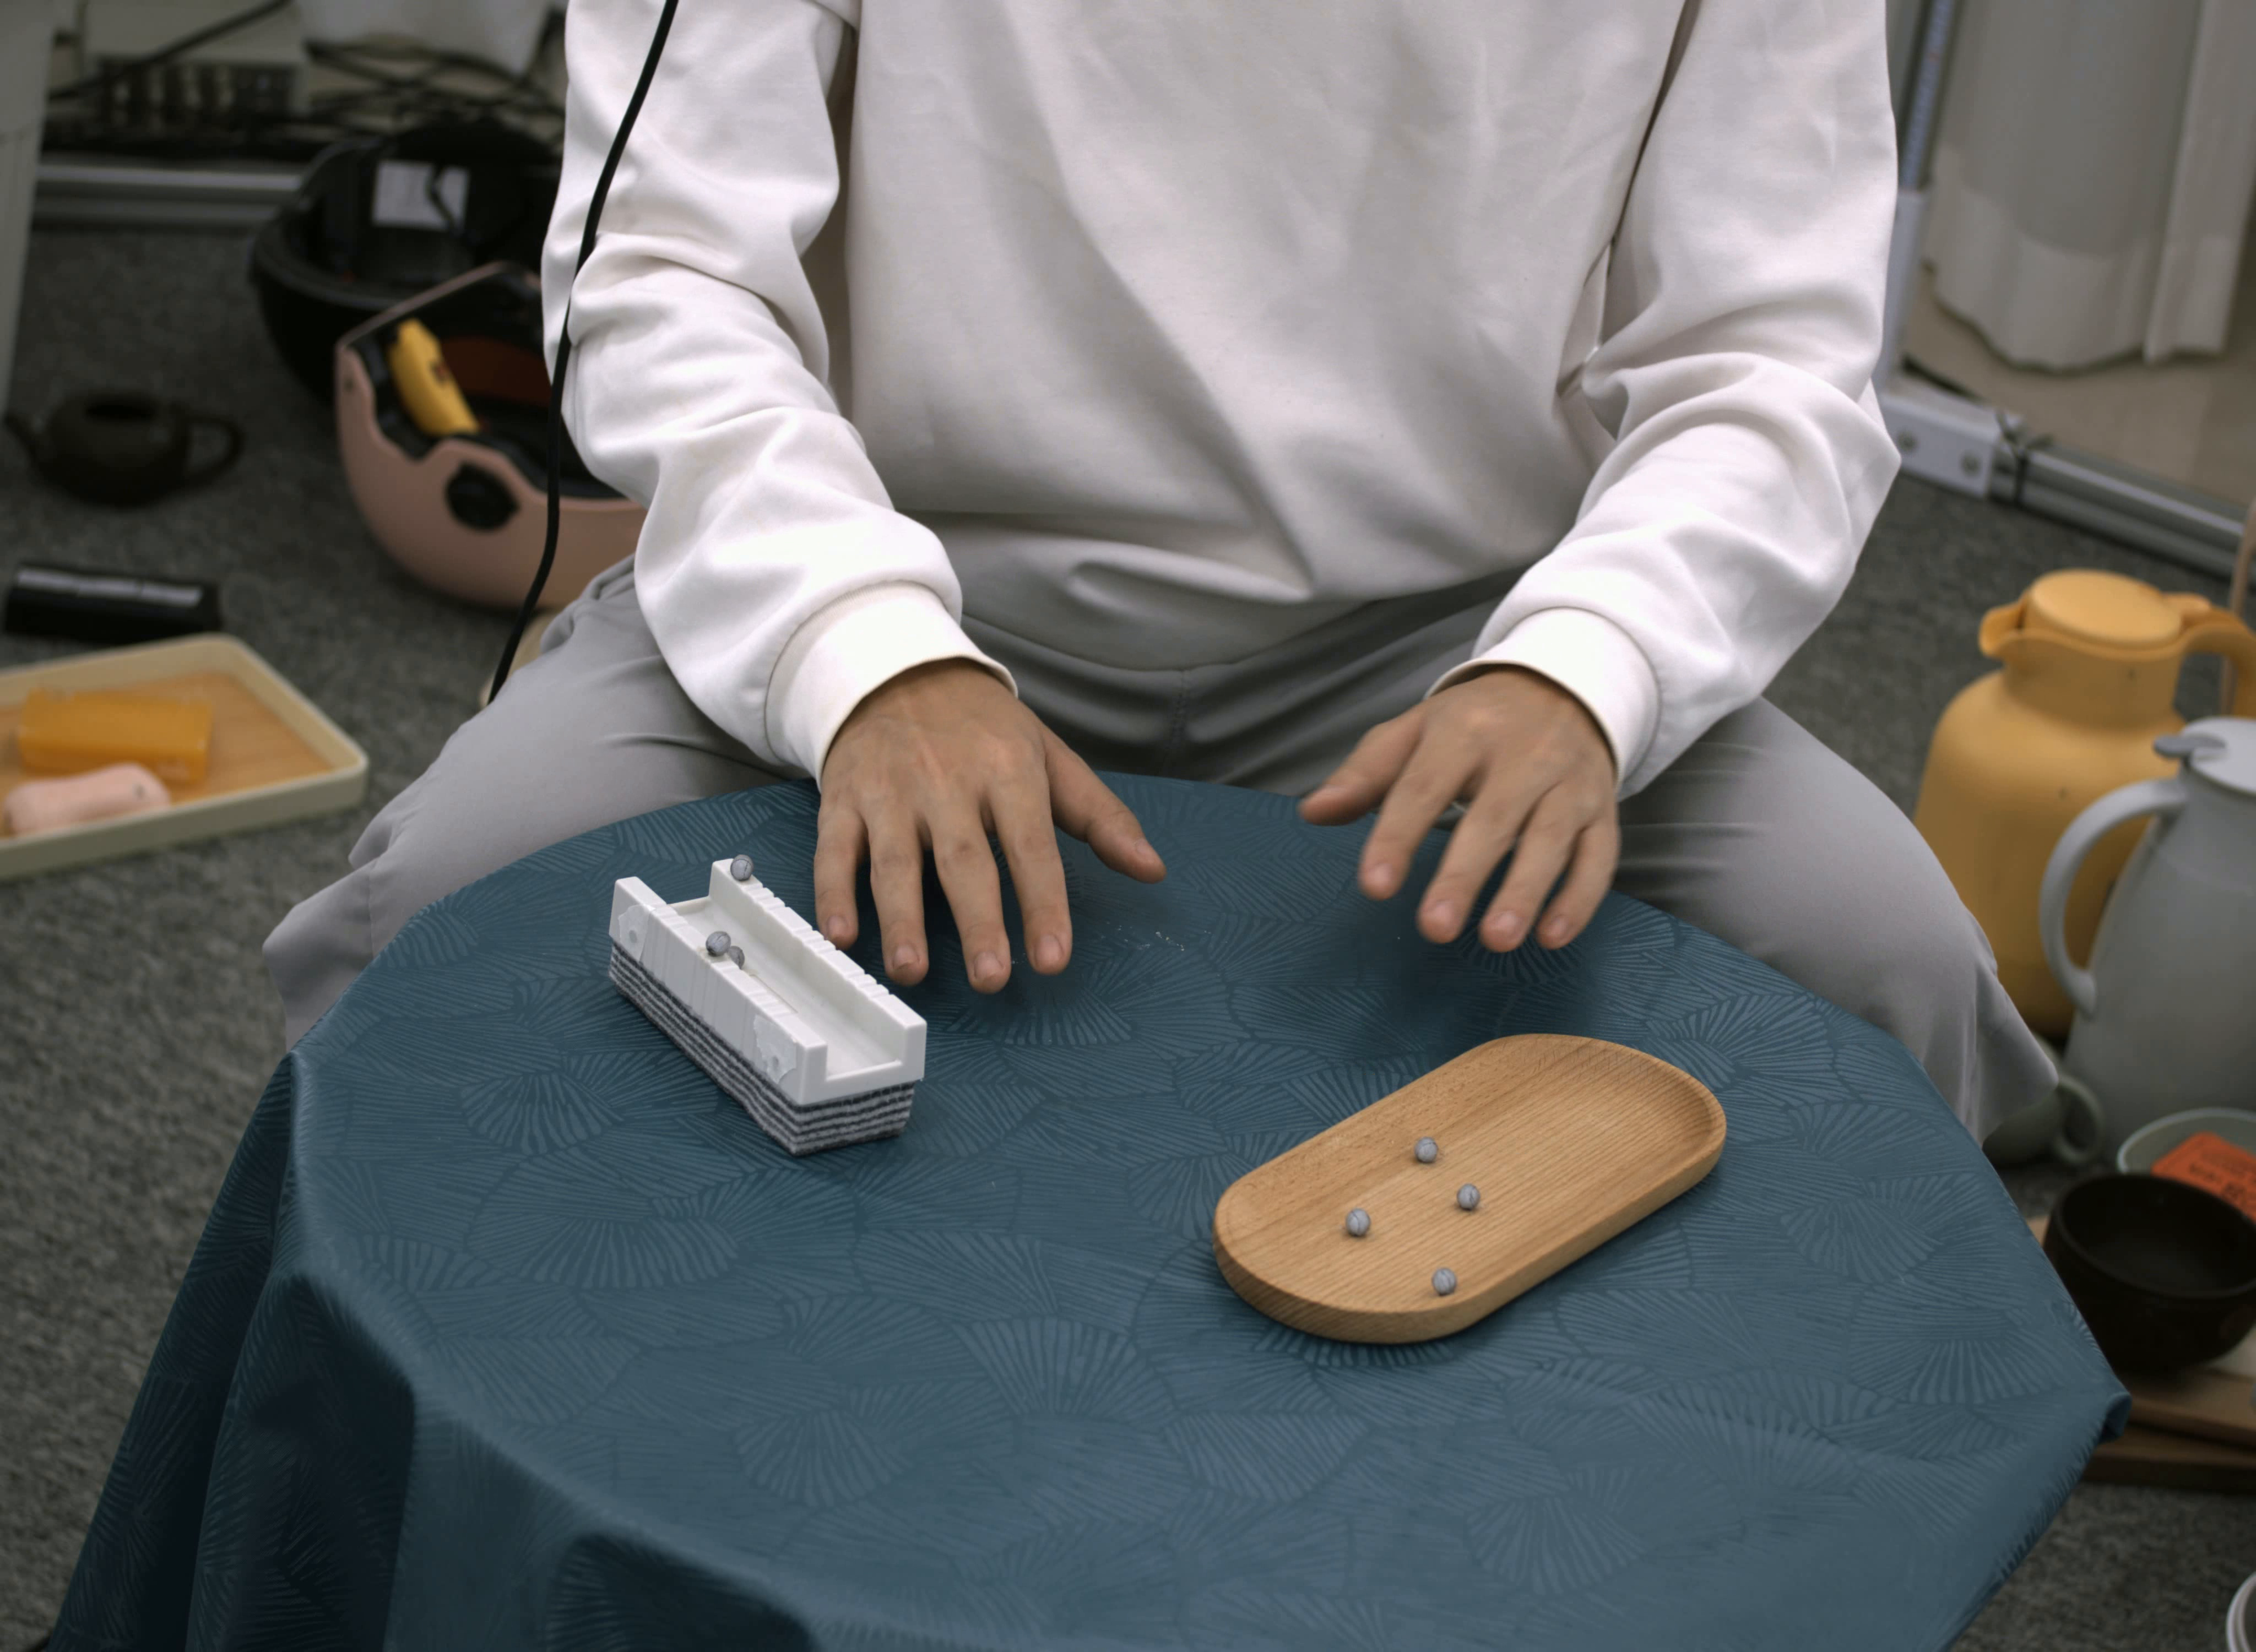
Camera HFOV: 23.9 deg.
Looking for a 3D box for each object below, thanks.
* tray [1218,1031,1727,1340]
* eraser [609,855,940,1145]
[{"bbox_3d":[0.119,0.122,1.821,0.102,0.020,0.230,25,30,31],"label":"tray"},{"bbox_3d":[-0.125,0.060,1.849,0.049,0.046,0.135,-8,29,-38],"label":"eraser"}]
